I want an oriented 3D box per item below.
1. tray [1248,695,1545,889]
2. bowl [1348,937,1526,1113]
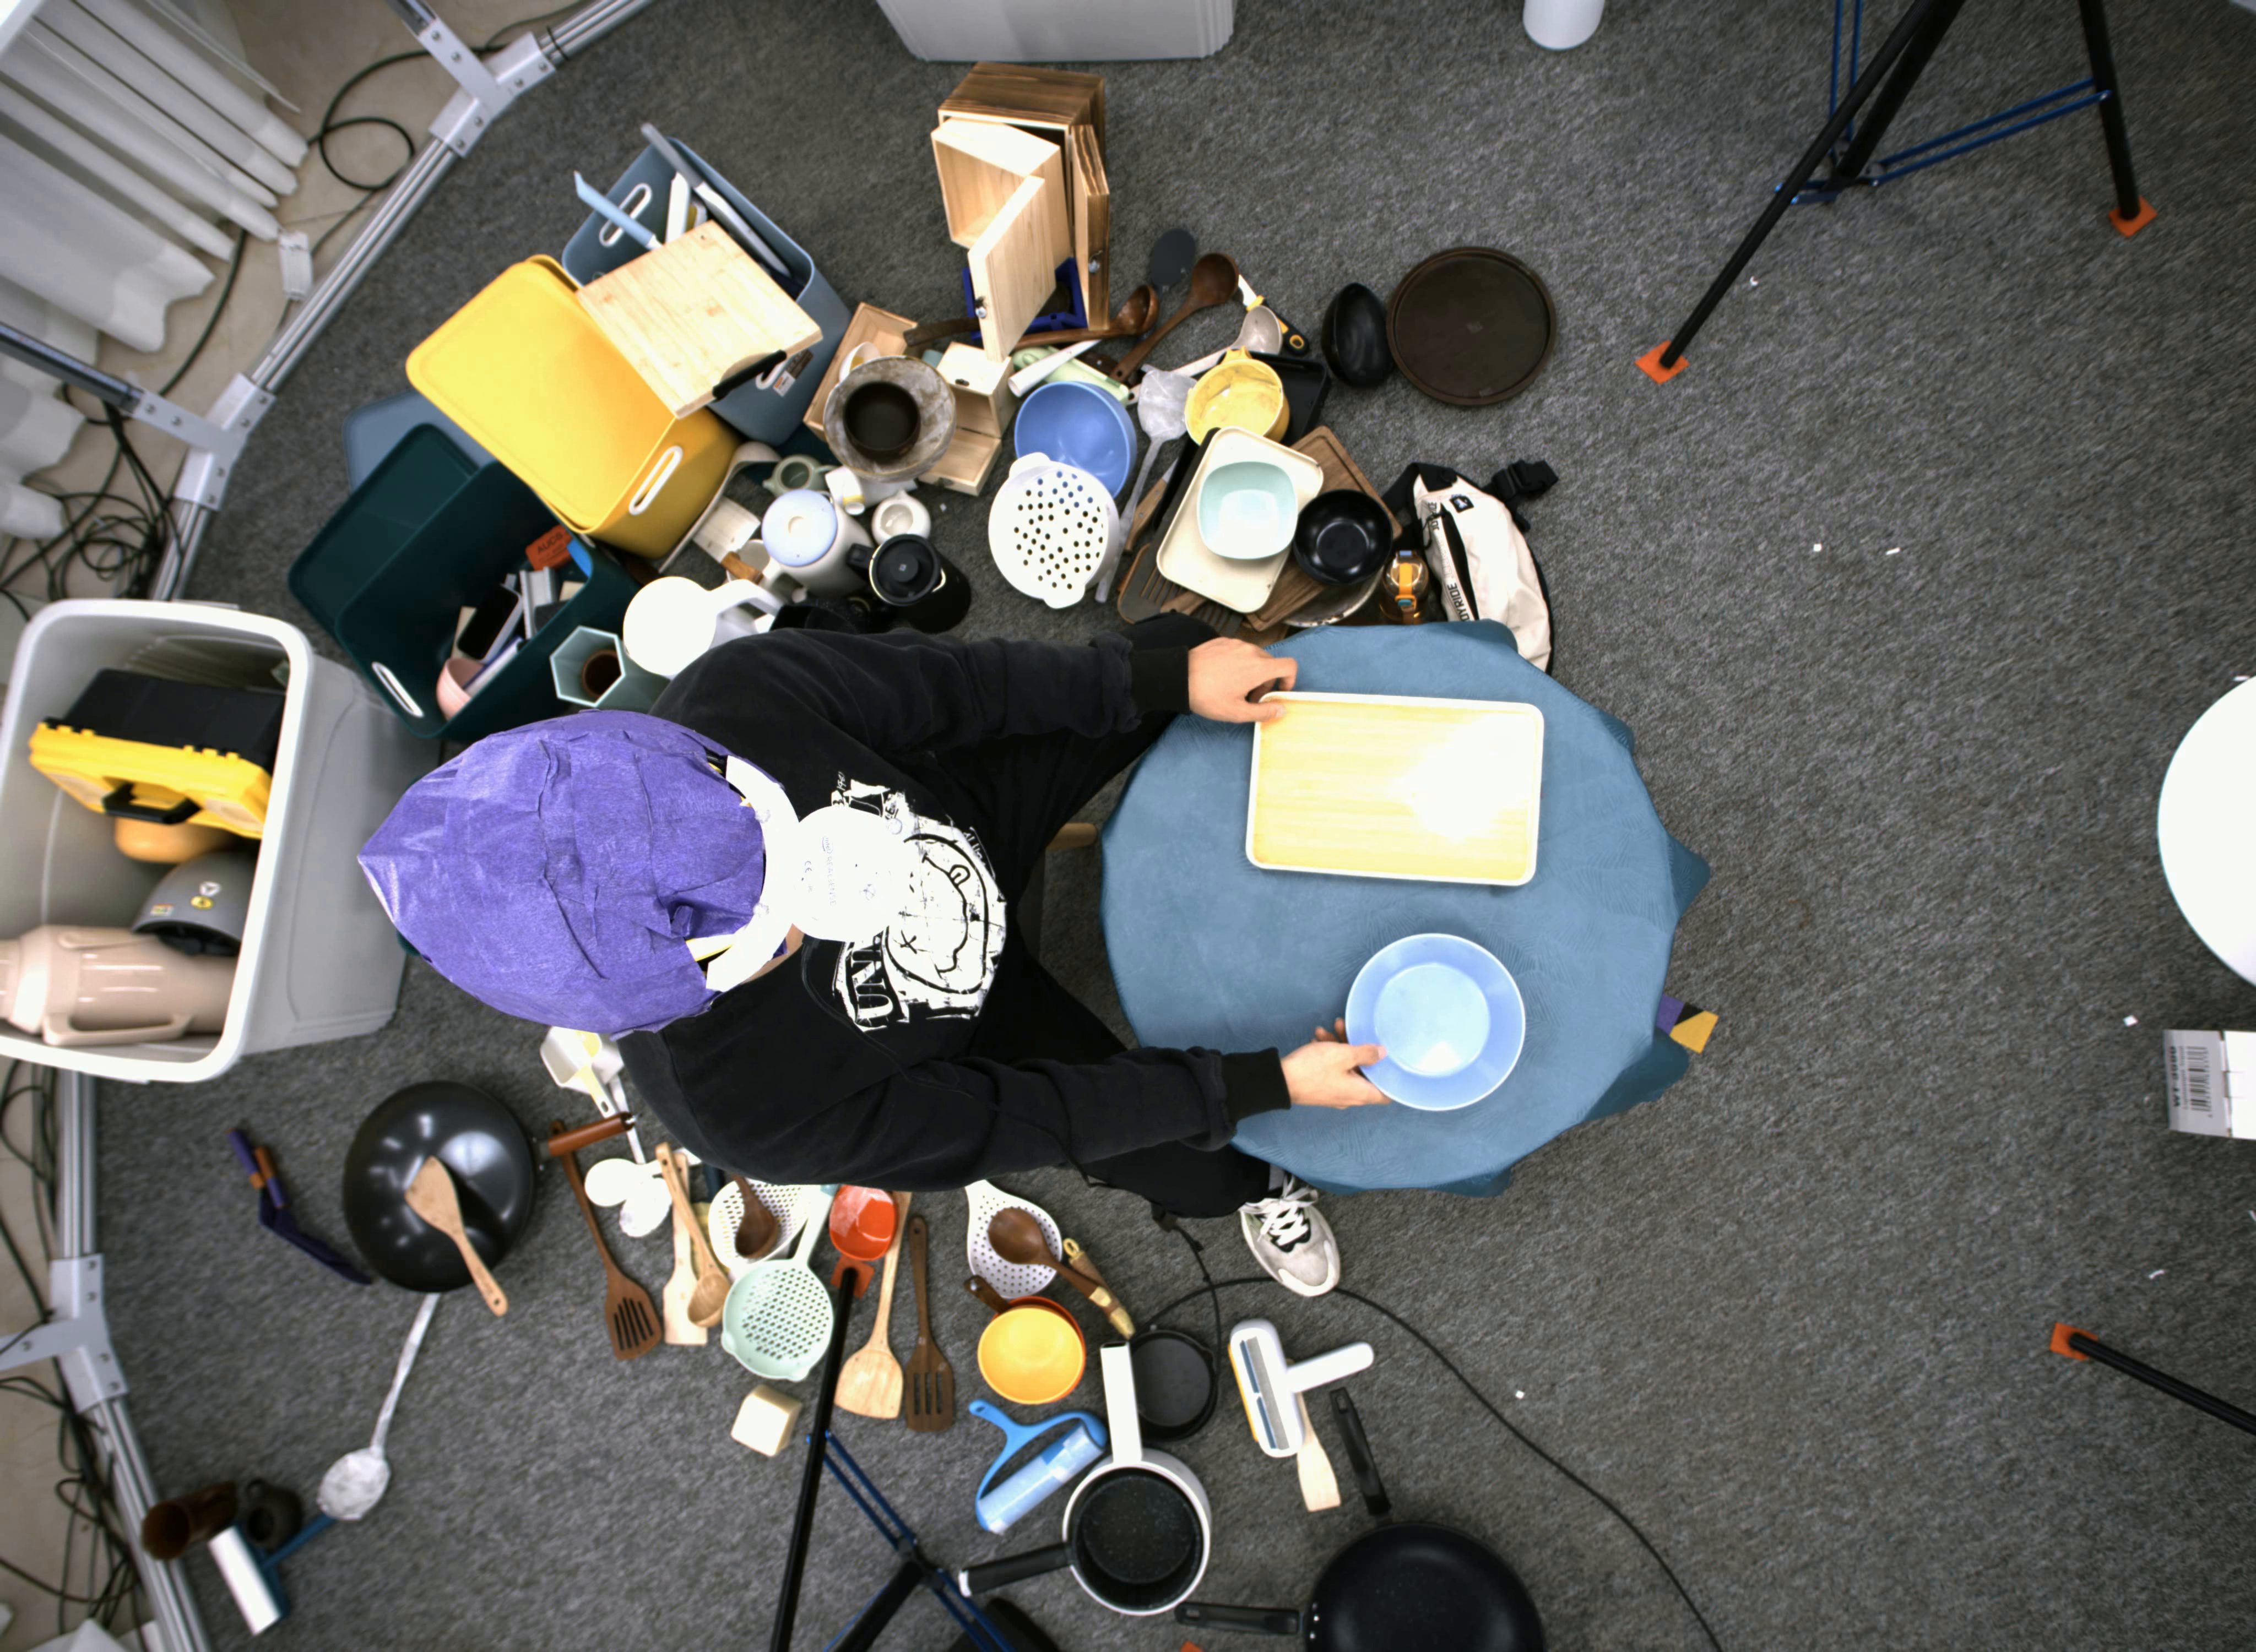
[{"bbox_3d":[0.282,-0.039,1.457,0.301,0.027,0.191,4,87,10],"label":"tray"},{"bbox_3d":[0.313,0.201,1.412,0.177,0.070,0.175,-1,85,9],"label":"bowl"}]
